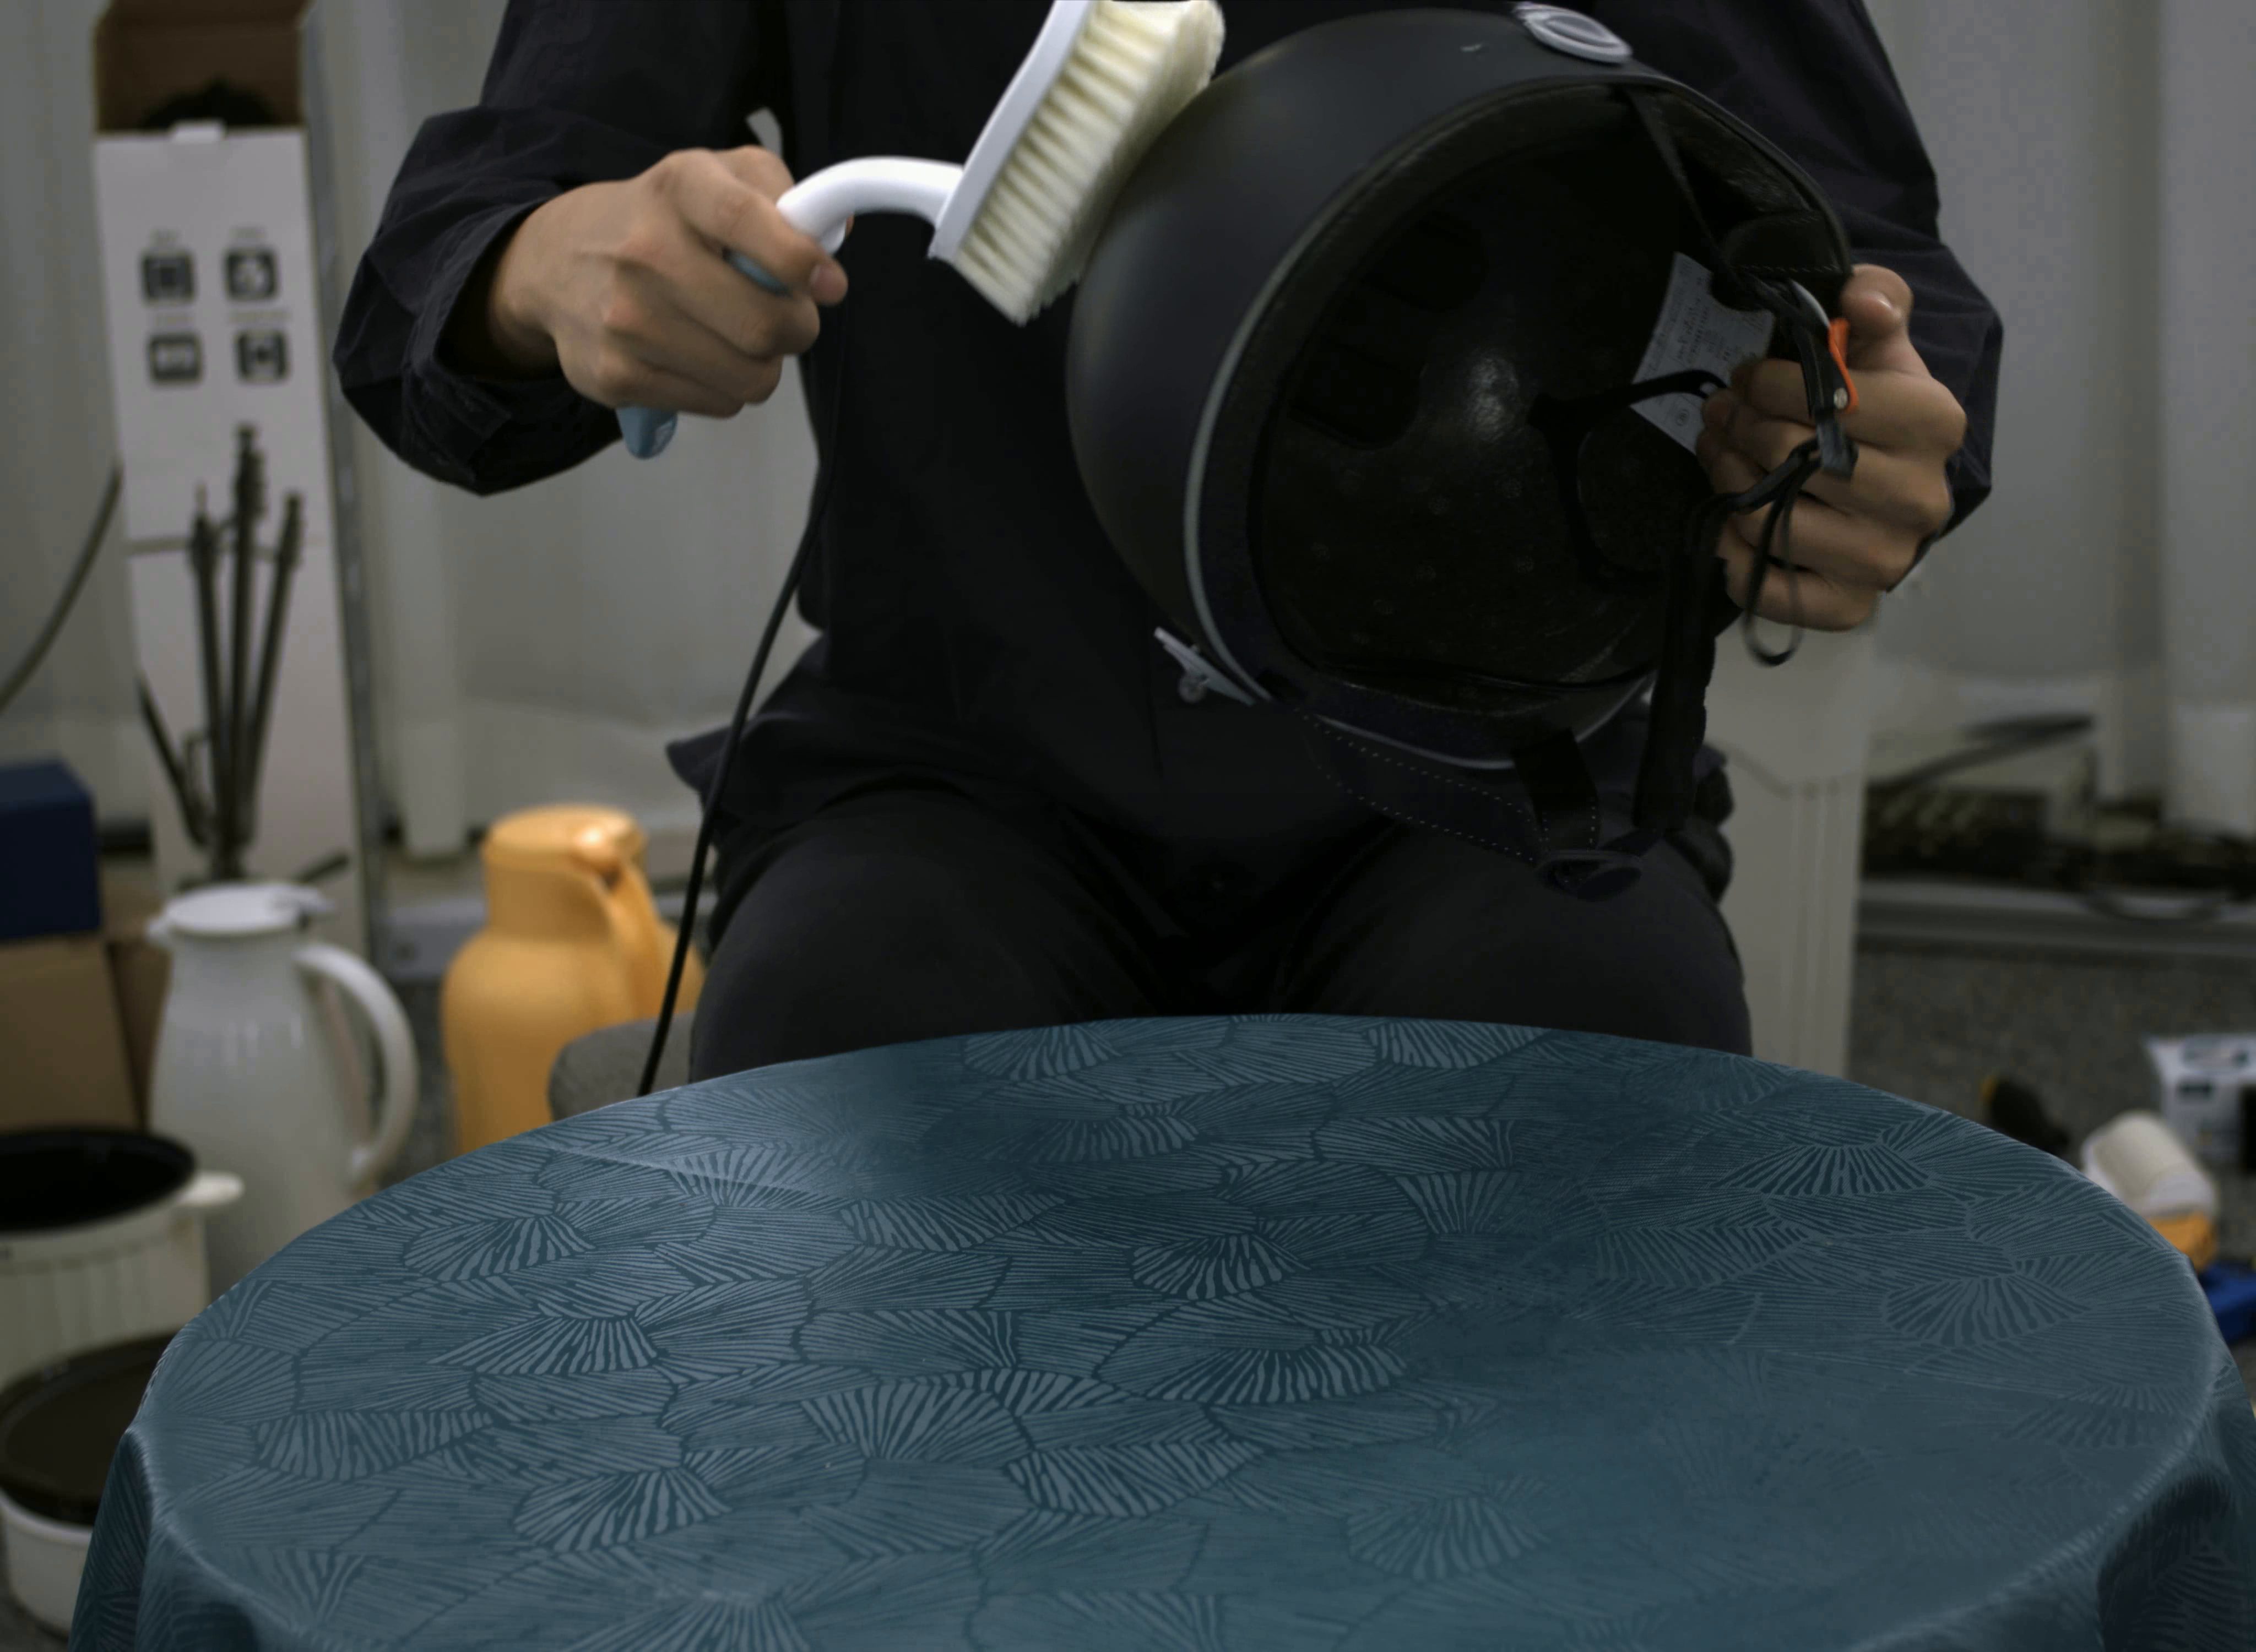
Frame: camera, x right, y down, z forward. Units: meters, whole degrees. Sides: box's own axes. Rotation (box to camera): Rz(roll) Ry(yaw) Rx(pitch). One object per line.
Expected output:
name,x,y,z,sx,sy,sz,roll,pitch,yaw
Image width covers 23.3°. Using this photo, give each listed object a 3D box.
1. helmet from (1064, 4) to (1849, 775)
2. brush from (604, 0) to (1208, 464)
helmet,0.084,-0.147,1.688,0.270,0.229,0.169,17,16,-44
brush,-0.063,-0.172,1.745,0.082,0.085,0.323,-2,-21,-35
